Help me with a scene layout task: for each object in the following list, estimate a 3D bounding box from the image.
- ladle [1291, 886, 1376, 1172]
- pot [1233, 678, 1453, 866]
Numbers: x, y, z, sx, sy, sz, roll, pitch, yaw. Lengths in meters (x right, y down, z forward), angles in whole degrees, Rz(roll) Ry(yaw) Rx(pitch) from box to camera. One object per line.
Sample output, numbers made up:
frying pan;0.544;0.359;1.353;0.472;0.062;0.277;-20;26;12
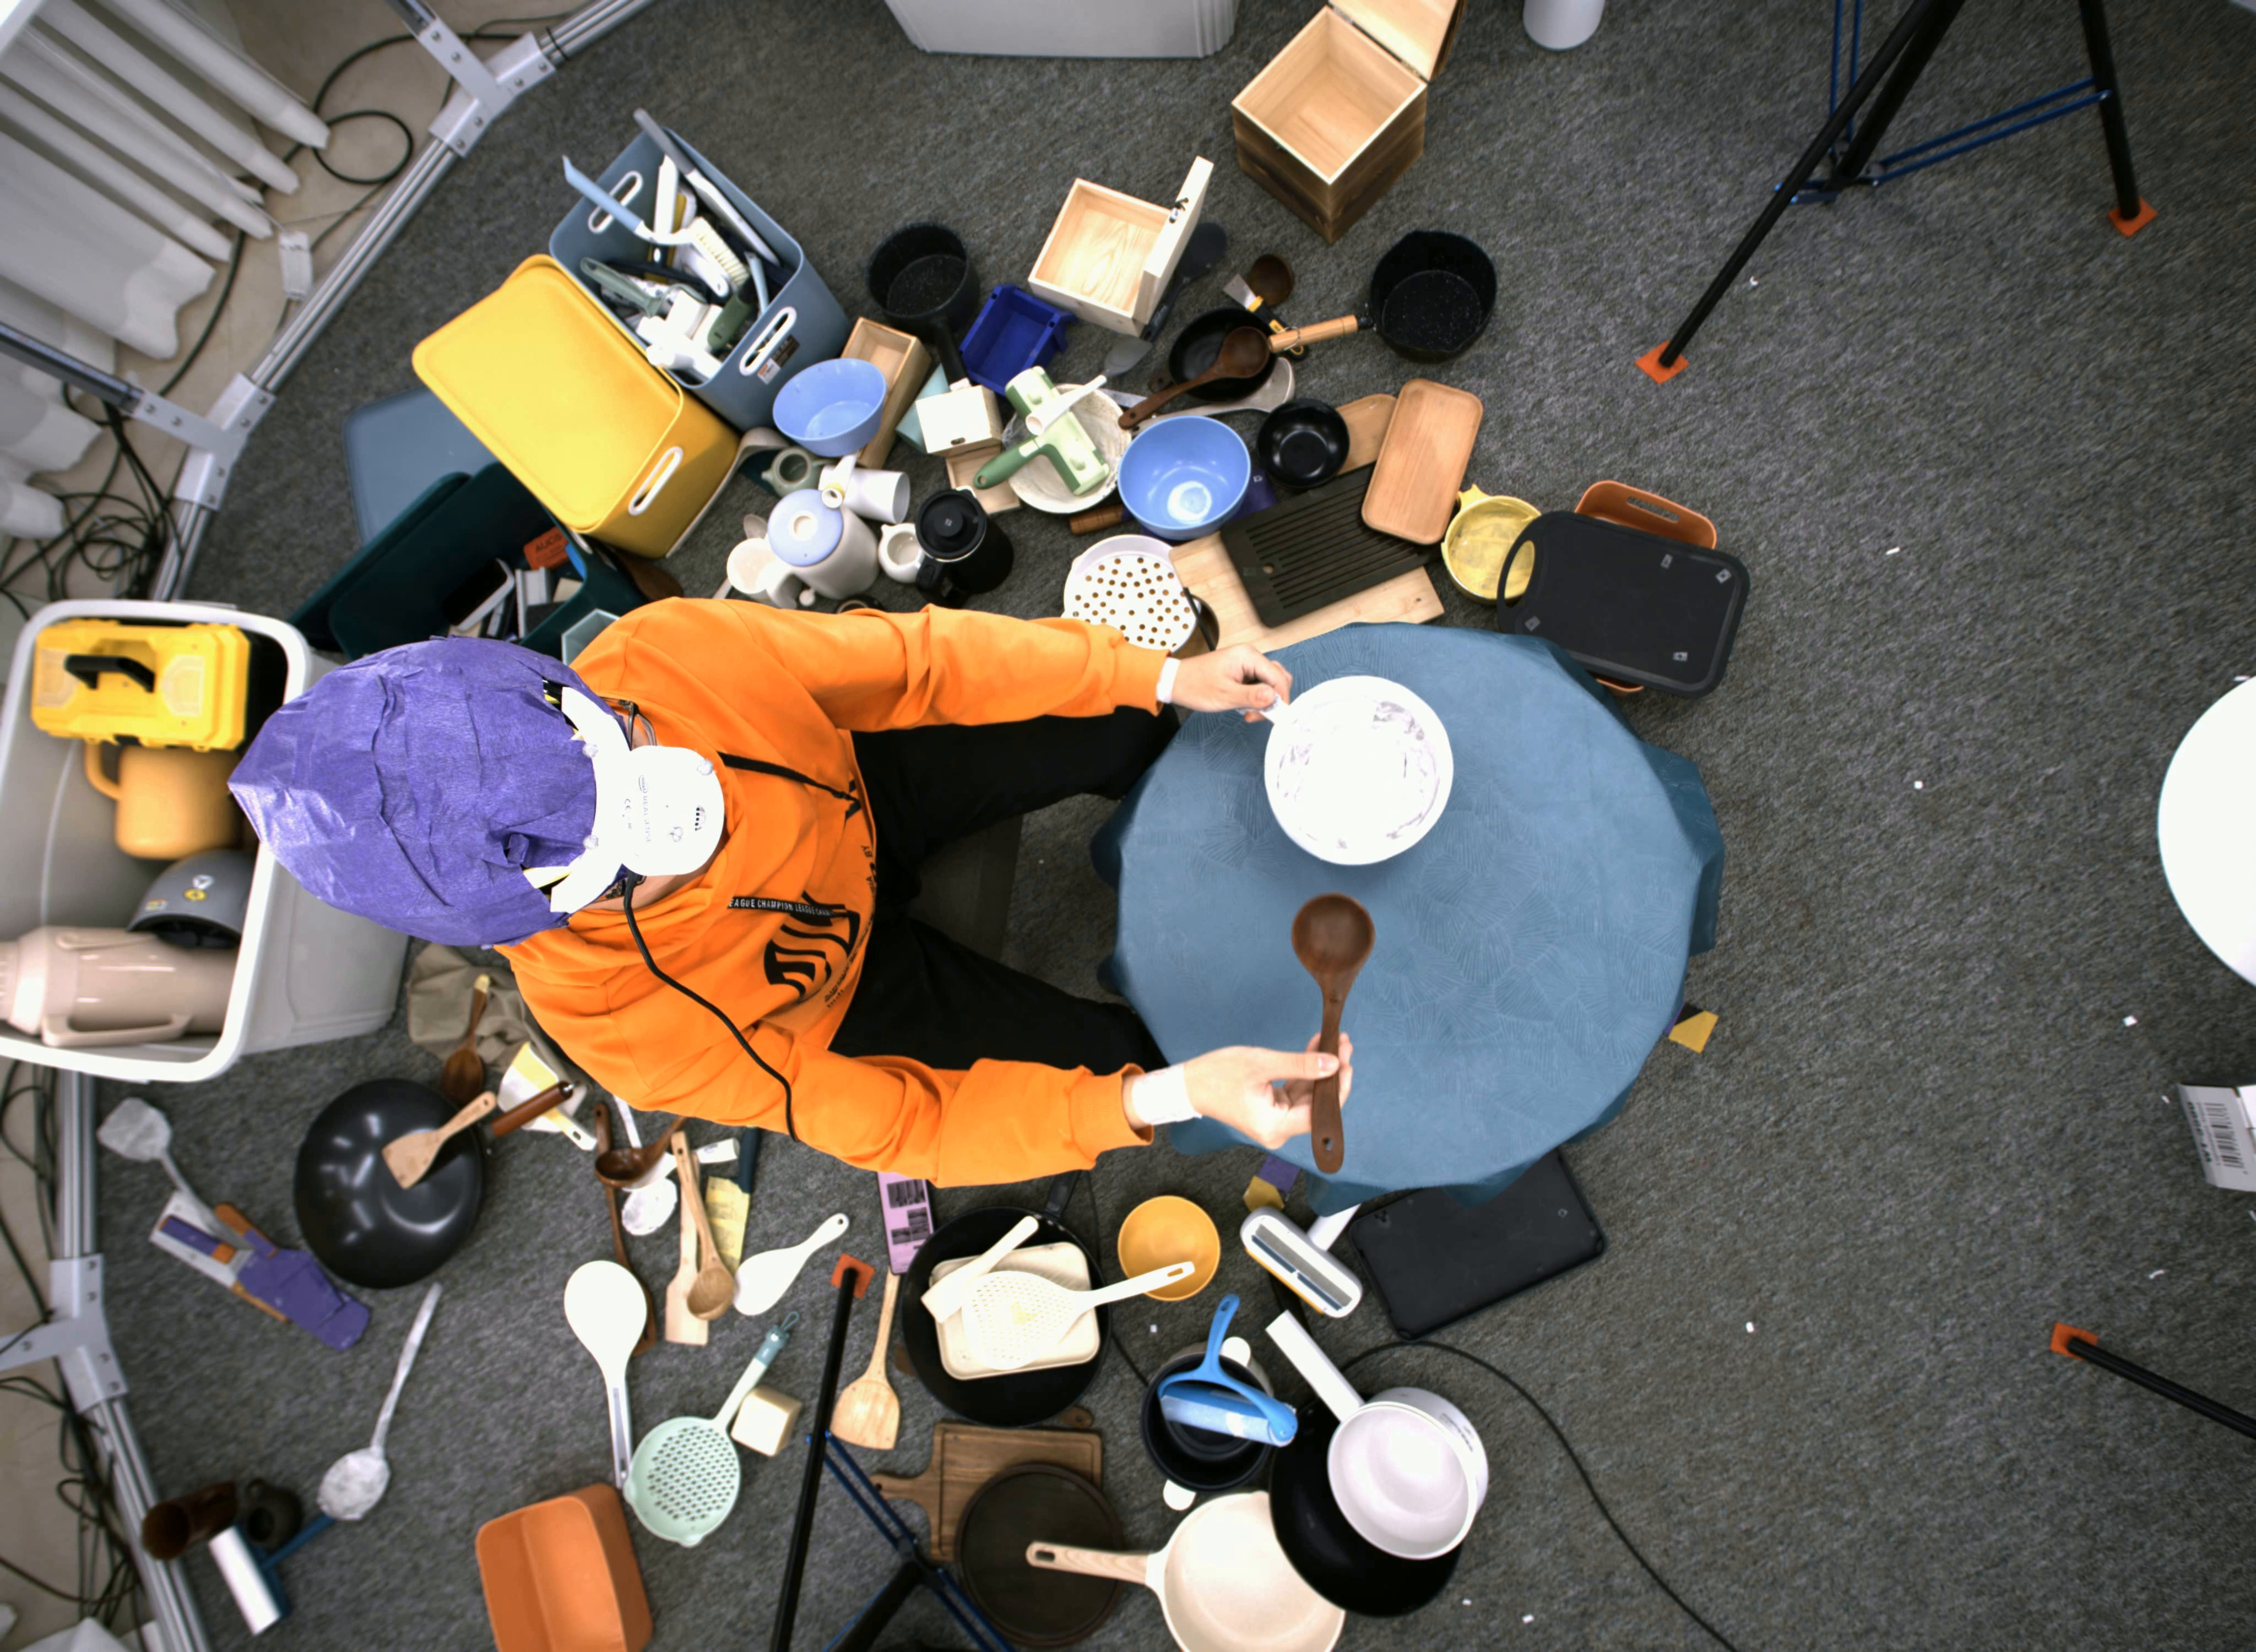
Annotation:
ladle;0.167;0.161;1.157;0.077;0.066;0.253;-13;42;26
pot;0.201;-0.067;1.364;0.233;0.136;0.179;37;93;6
